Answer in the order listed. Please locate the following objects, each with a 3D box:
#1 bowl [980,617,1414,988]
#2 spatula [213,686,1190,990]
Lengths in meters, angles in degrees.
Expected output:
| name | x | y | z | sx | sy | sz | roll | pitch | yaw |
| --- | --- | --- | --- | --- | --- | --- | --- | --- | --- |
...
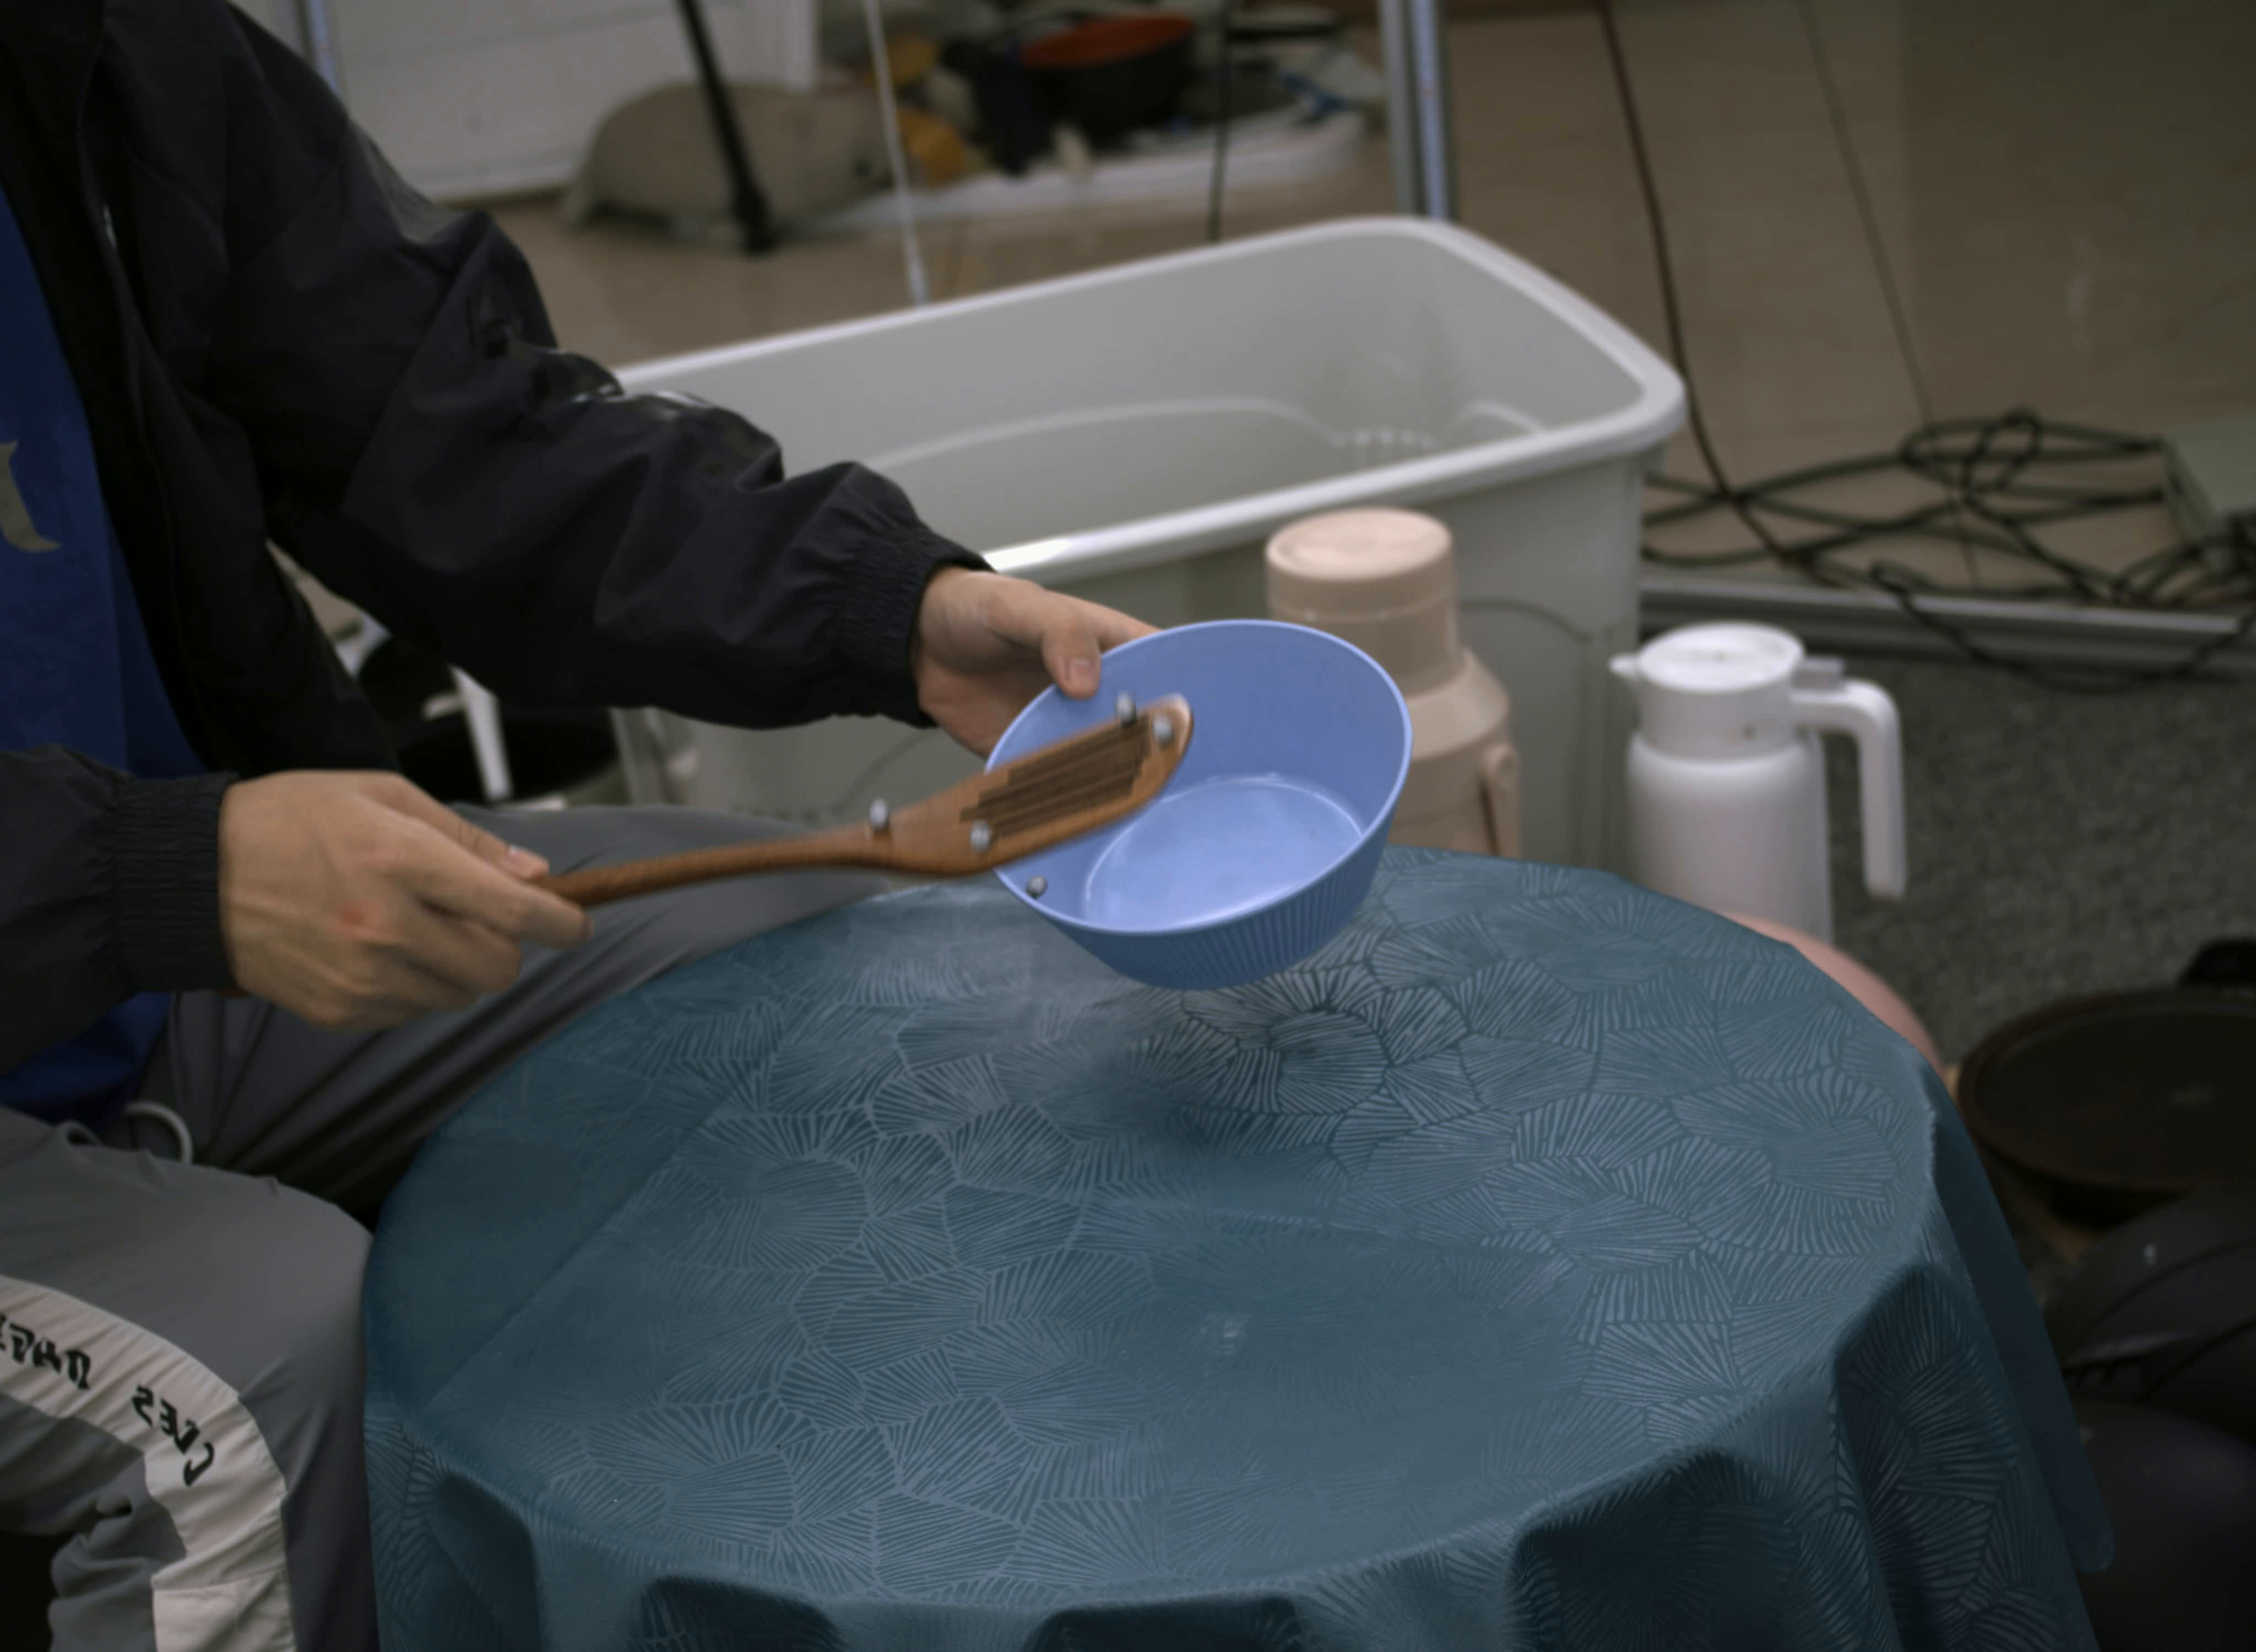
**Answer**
| name | x | y | z | sx | sy | sz | roll | pitch | yaw |
| --- | --- | --- | --- | --- | --- | --- | --- | --- | --- |
| bowl | 0.033 | 0.001 | 2.229 | 0.176 | 0.071 | 0.173 | -11 | 43 | 10 |
| spatula | -0.159 | 0.014 | 2.067 | 0.387 | 0.024 | 0.084 | -12 | 26 | 15 |
